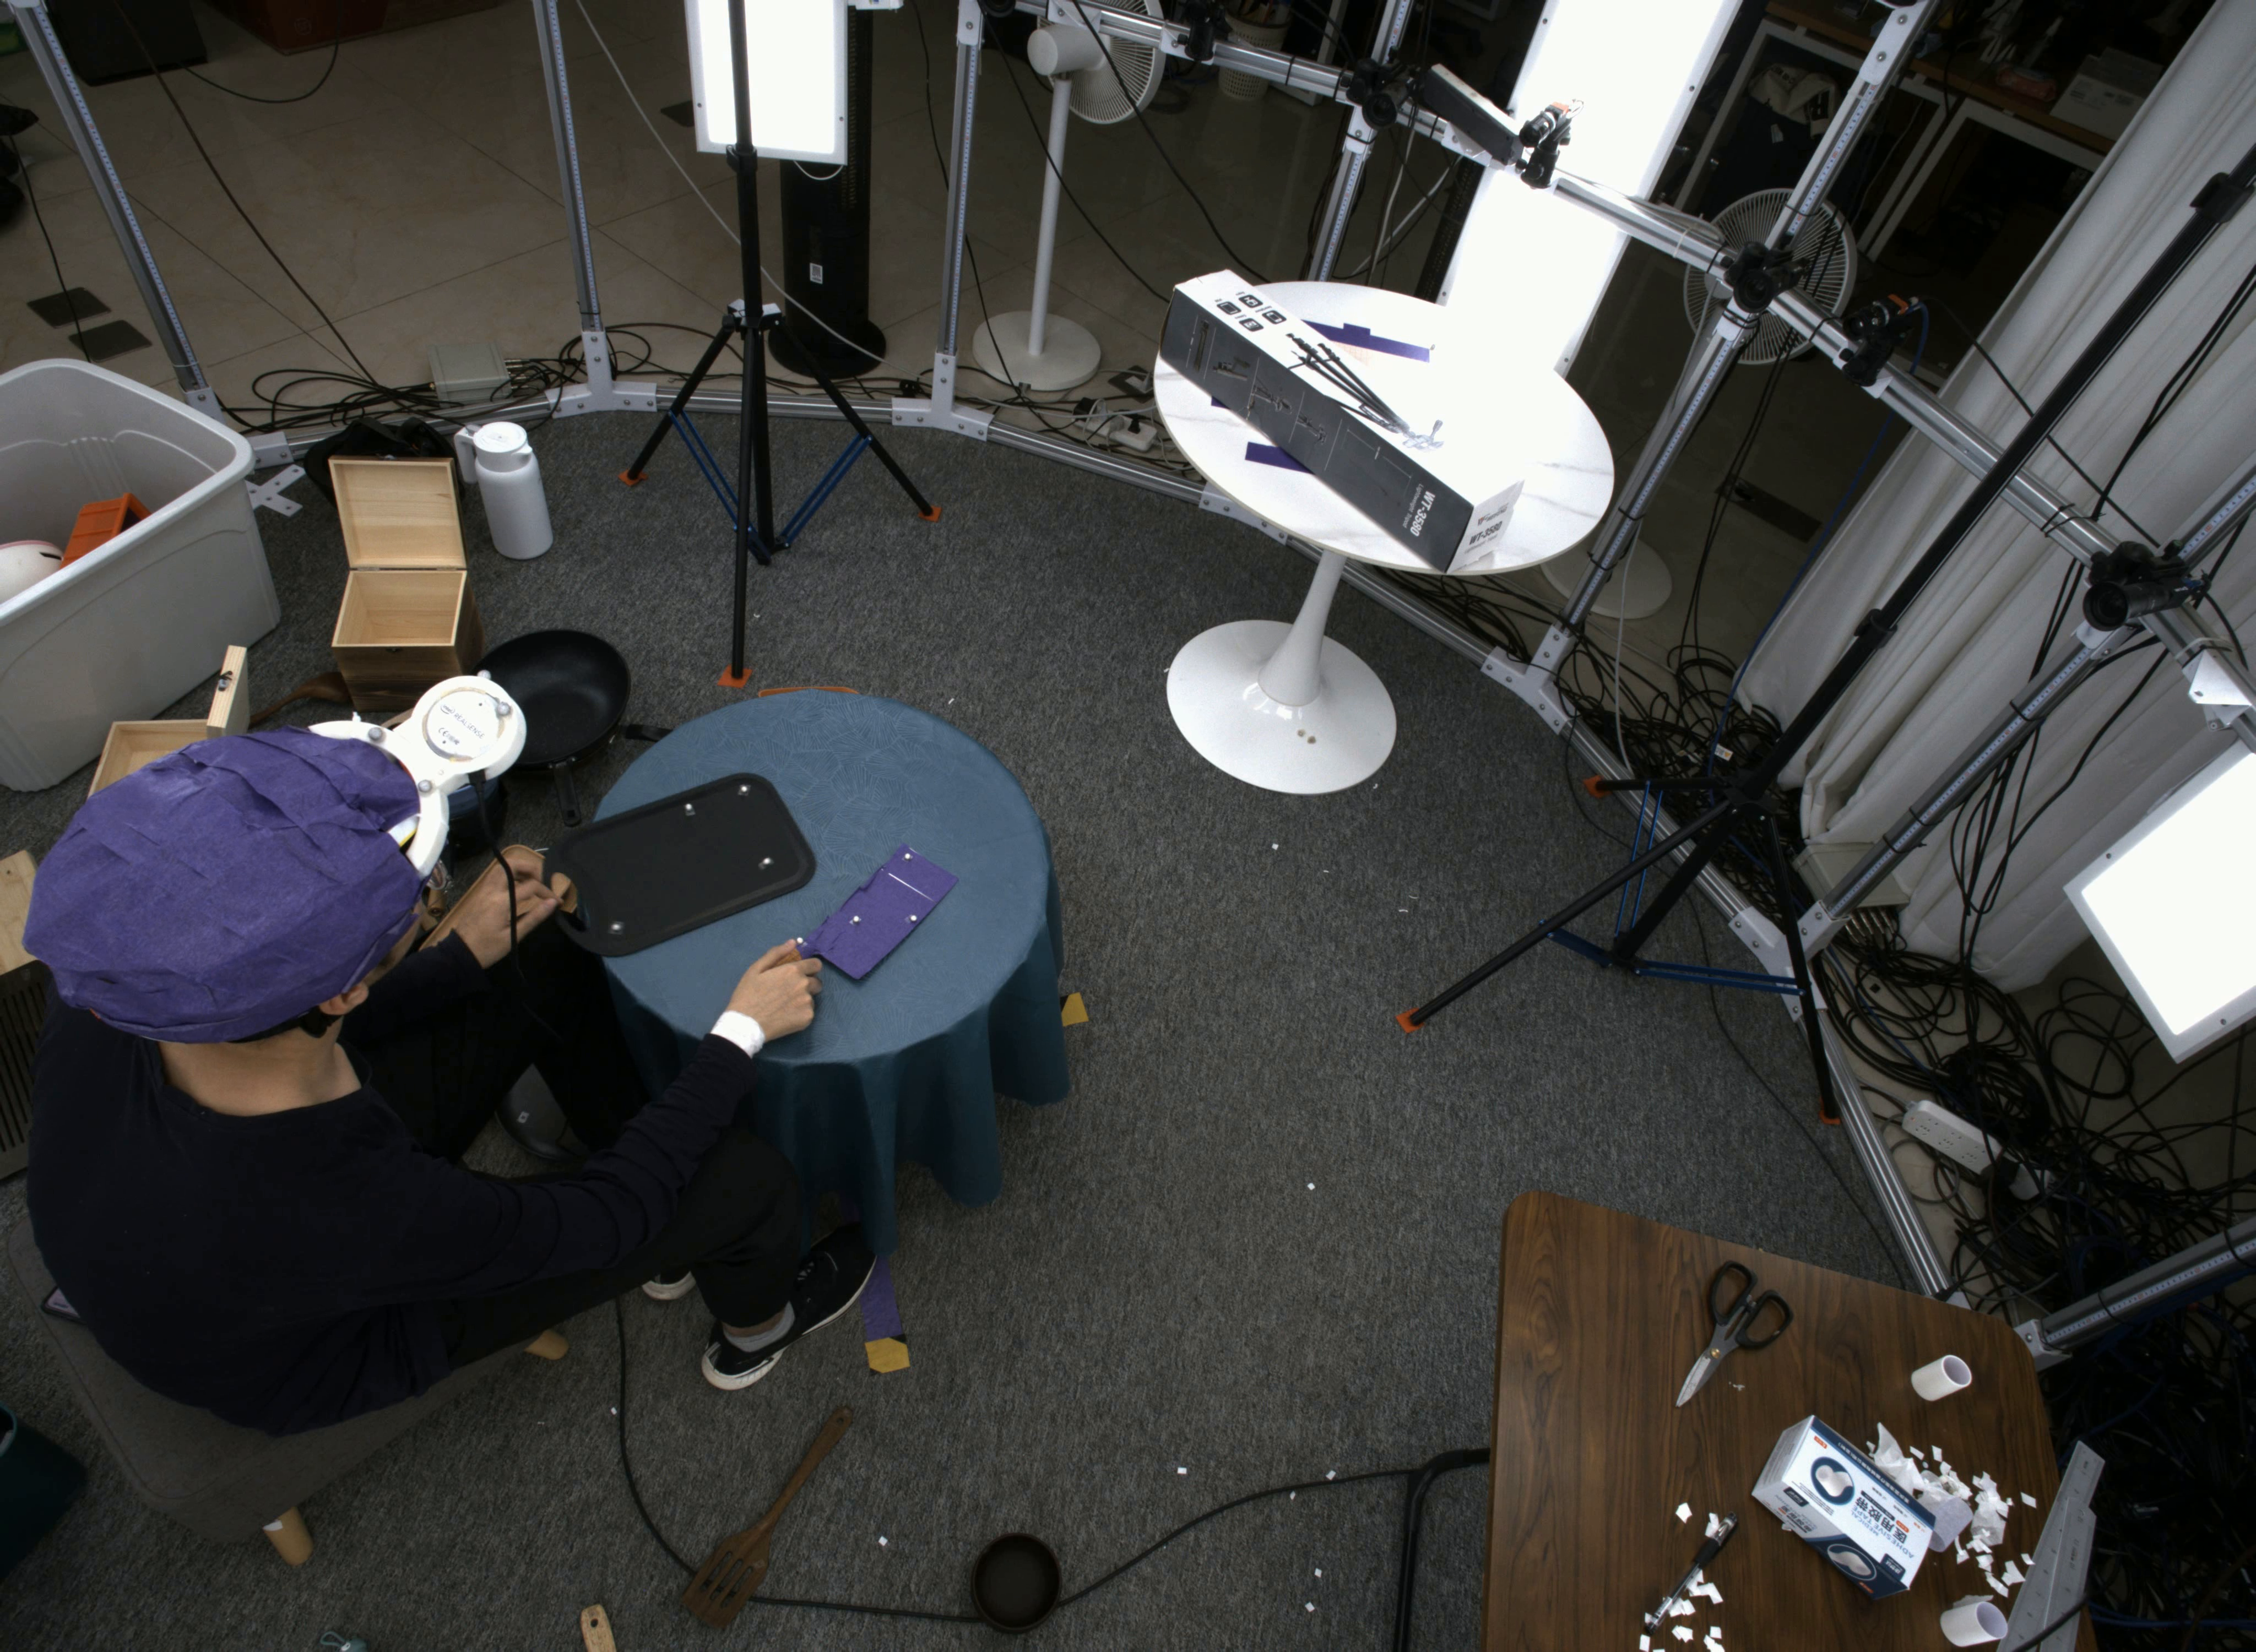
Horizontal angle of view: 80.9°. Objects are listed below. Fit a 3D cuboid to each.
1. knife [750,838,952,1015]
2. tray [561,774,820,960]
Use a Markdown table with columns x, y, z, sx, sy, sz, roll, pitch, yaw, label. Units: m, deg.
| x | y | z | sx | sy | sz | roll | pitch | yaw | label |
| --- | --- | --- | --- | --- | --- | --- | --- | --- | --- |
| -0.340 | 0.132 | 1.641 | 0.102 | 0.033 | 0.314 | 31 | 52 | 10 | knife |
| -0.574 | 0.047 | 1.658 | 0.327 | 0.010 | 0.206 | -24 | 63 | -28 | tray |
